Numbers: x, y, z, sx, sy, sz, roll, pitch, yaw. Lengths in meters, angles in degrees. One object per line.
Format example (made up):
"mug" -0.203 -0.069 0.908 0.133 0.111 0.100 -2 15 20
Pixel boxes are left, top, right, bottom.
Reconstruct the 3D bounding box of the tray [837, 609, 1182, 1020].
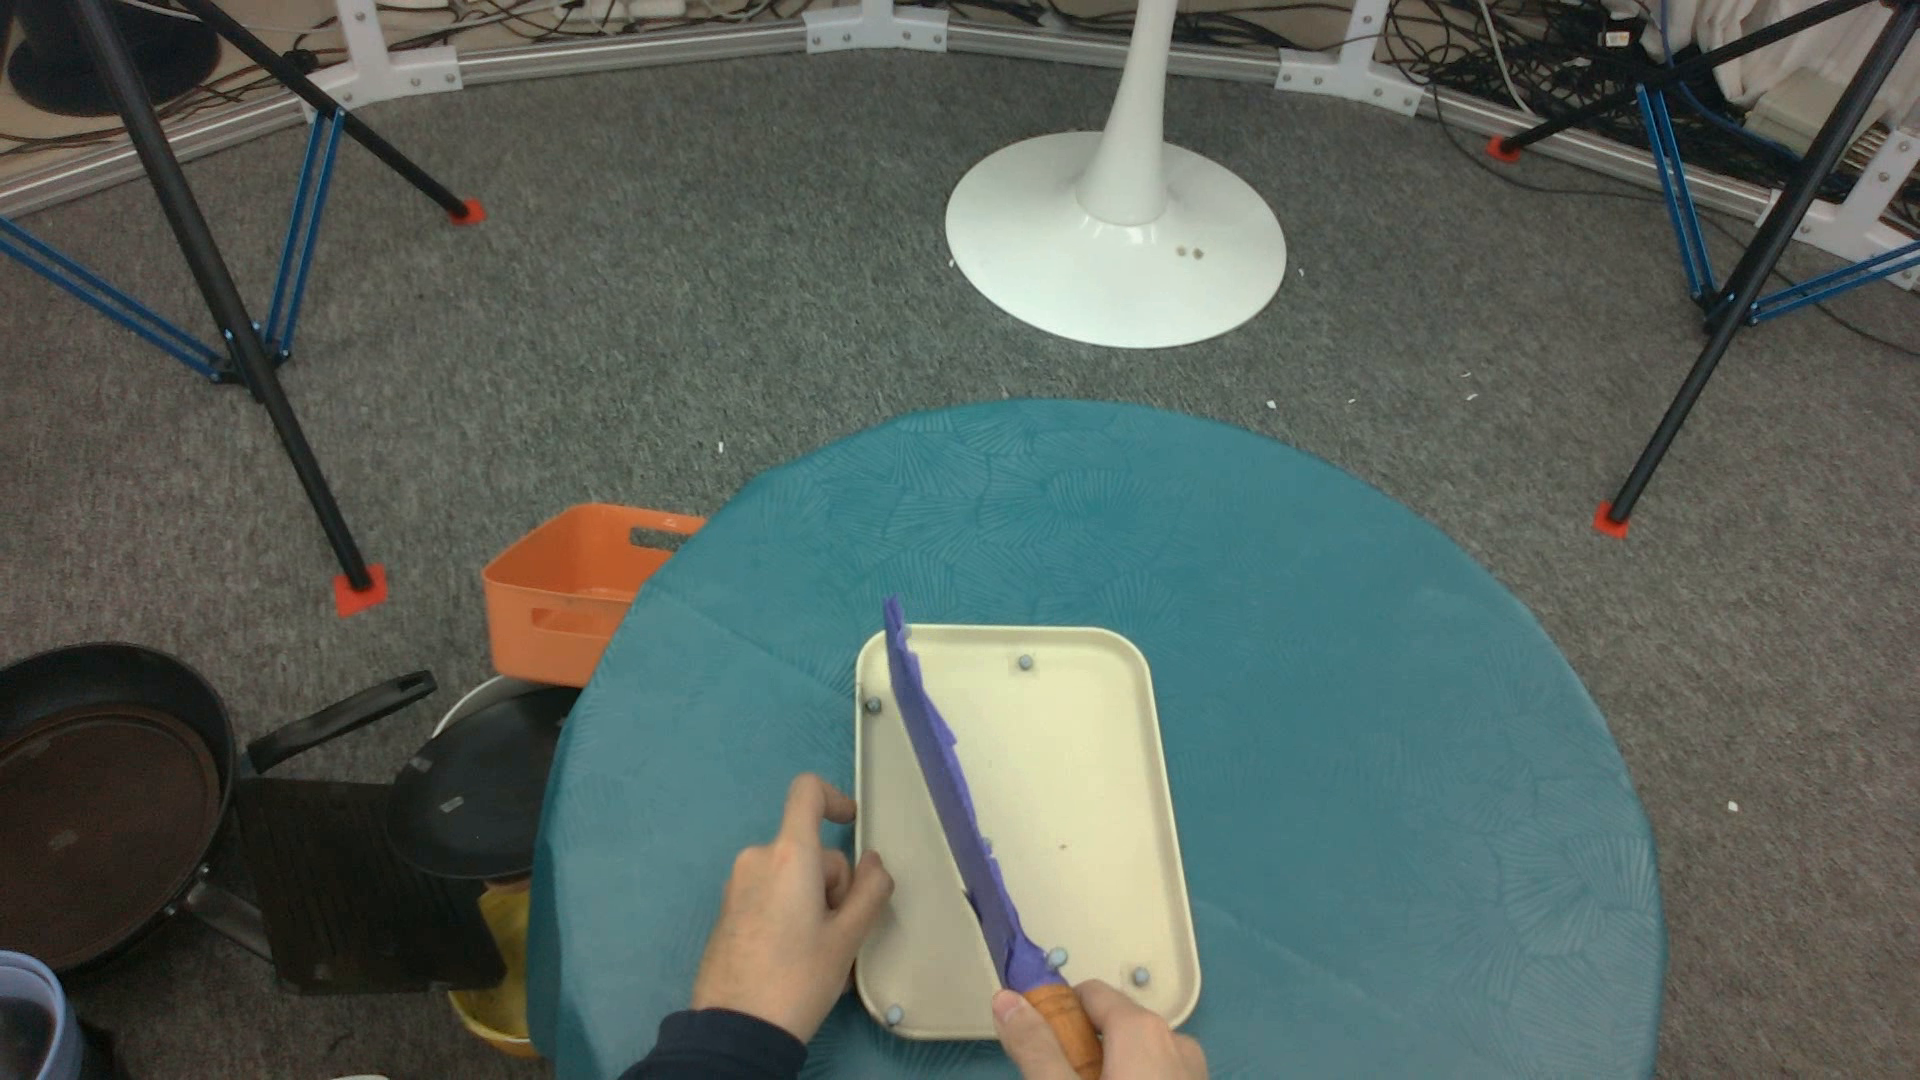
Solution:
"tray" 0.020 0.138 0.731 0.171 0.017 0.241 3 49 -8

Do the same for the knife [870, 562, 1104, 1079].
"knife" 0.008 0.155 0.648 0.032 0.103 0.316 -15 53 -10
